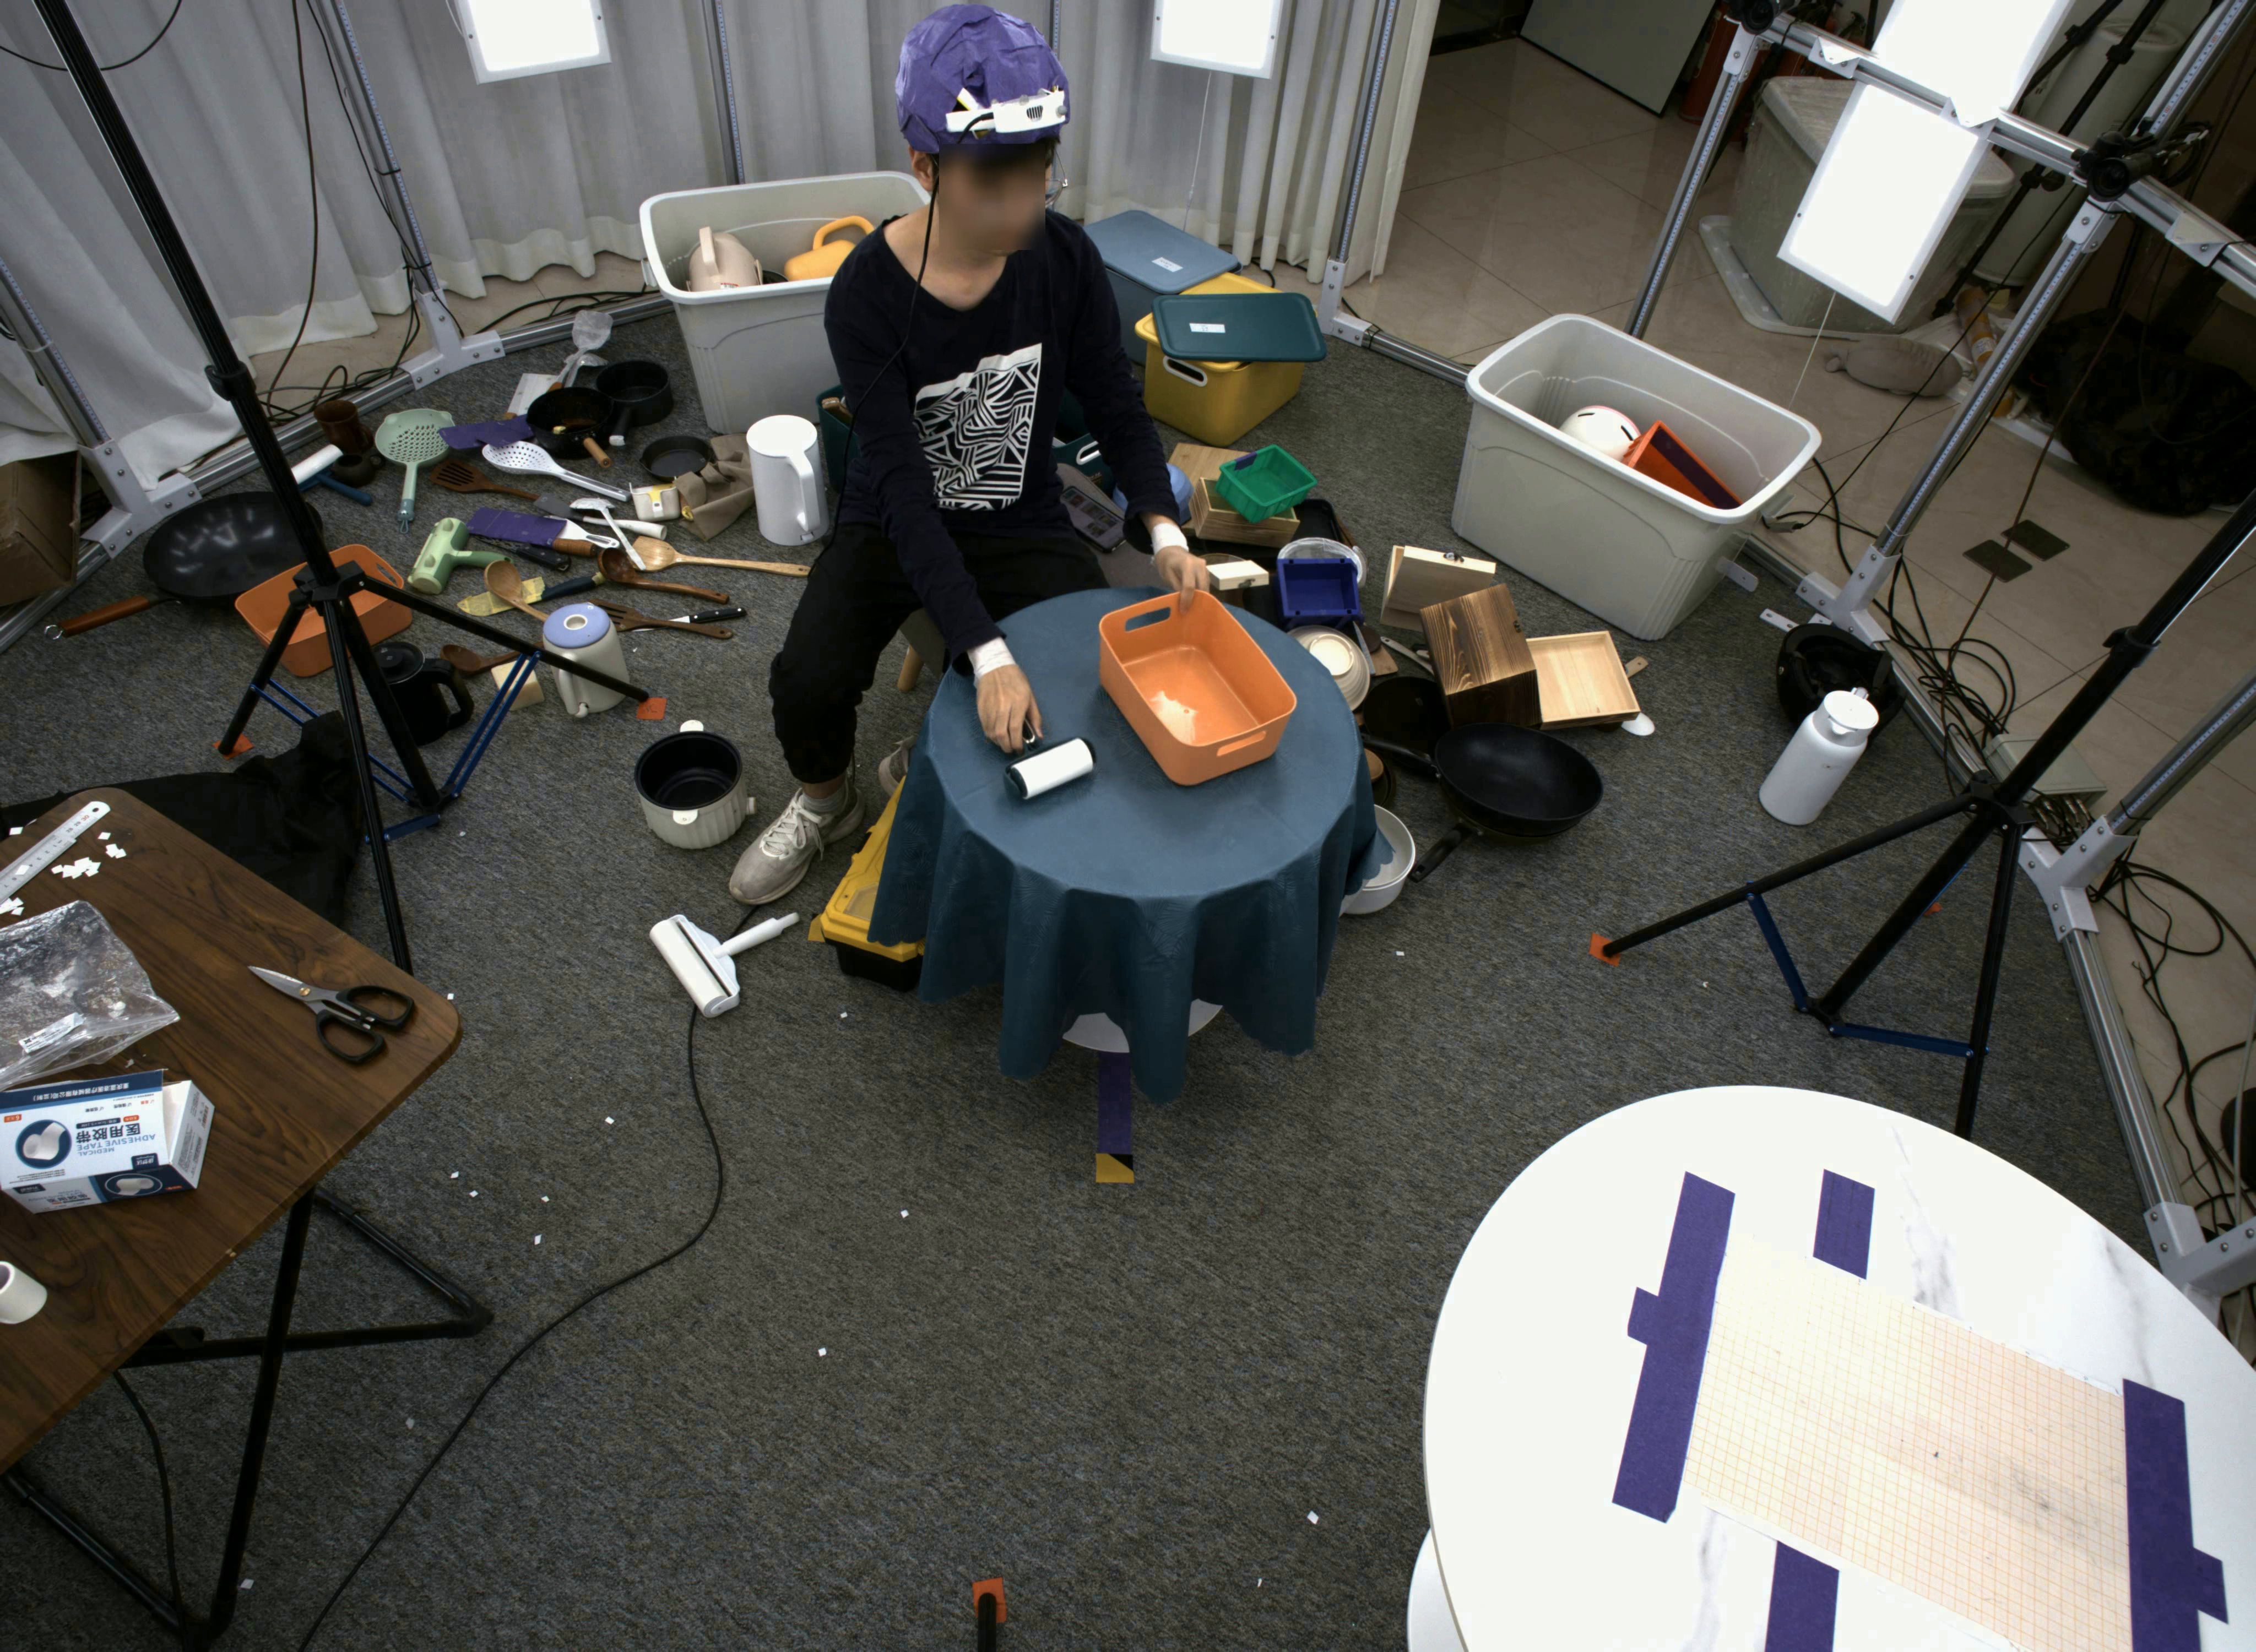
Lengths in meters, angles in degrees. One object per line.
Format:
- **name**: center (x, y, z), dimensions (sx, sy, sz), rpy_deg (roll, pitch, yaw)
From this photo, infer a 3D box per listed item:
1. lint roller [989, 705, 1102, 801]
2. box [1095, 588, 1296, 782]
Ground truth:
- **lint roller**: center (-0.136, -0.118, 1.724), dimensions (0.135, 0.047, 0.184), rpy_deg (-24, 55, -22)
- **box**: center (0.084, -0.192, 1.765), dimensions (0.200, 0.100, 0.279), rpy_deg (-20, 54, -22)
